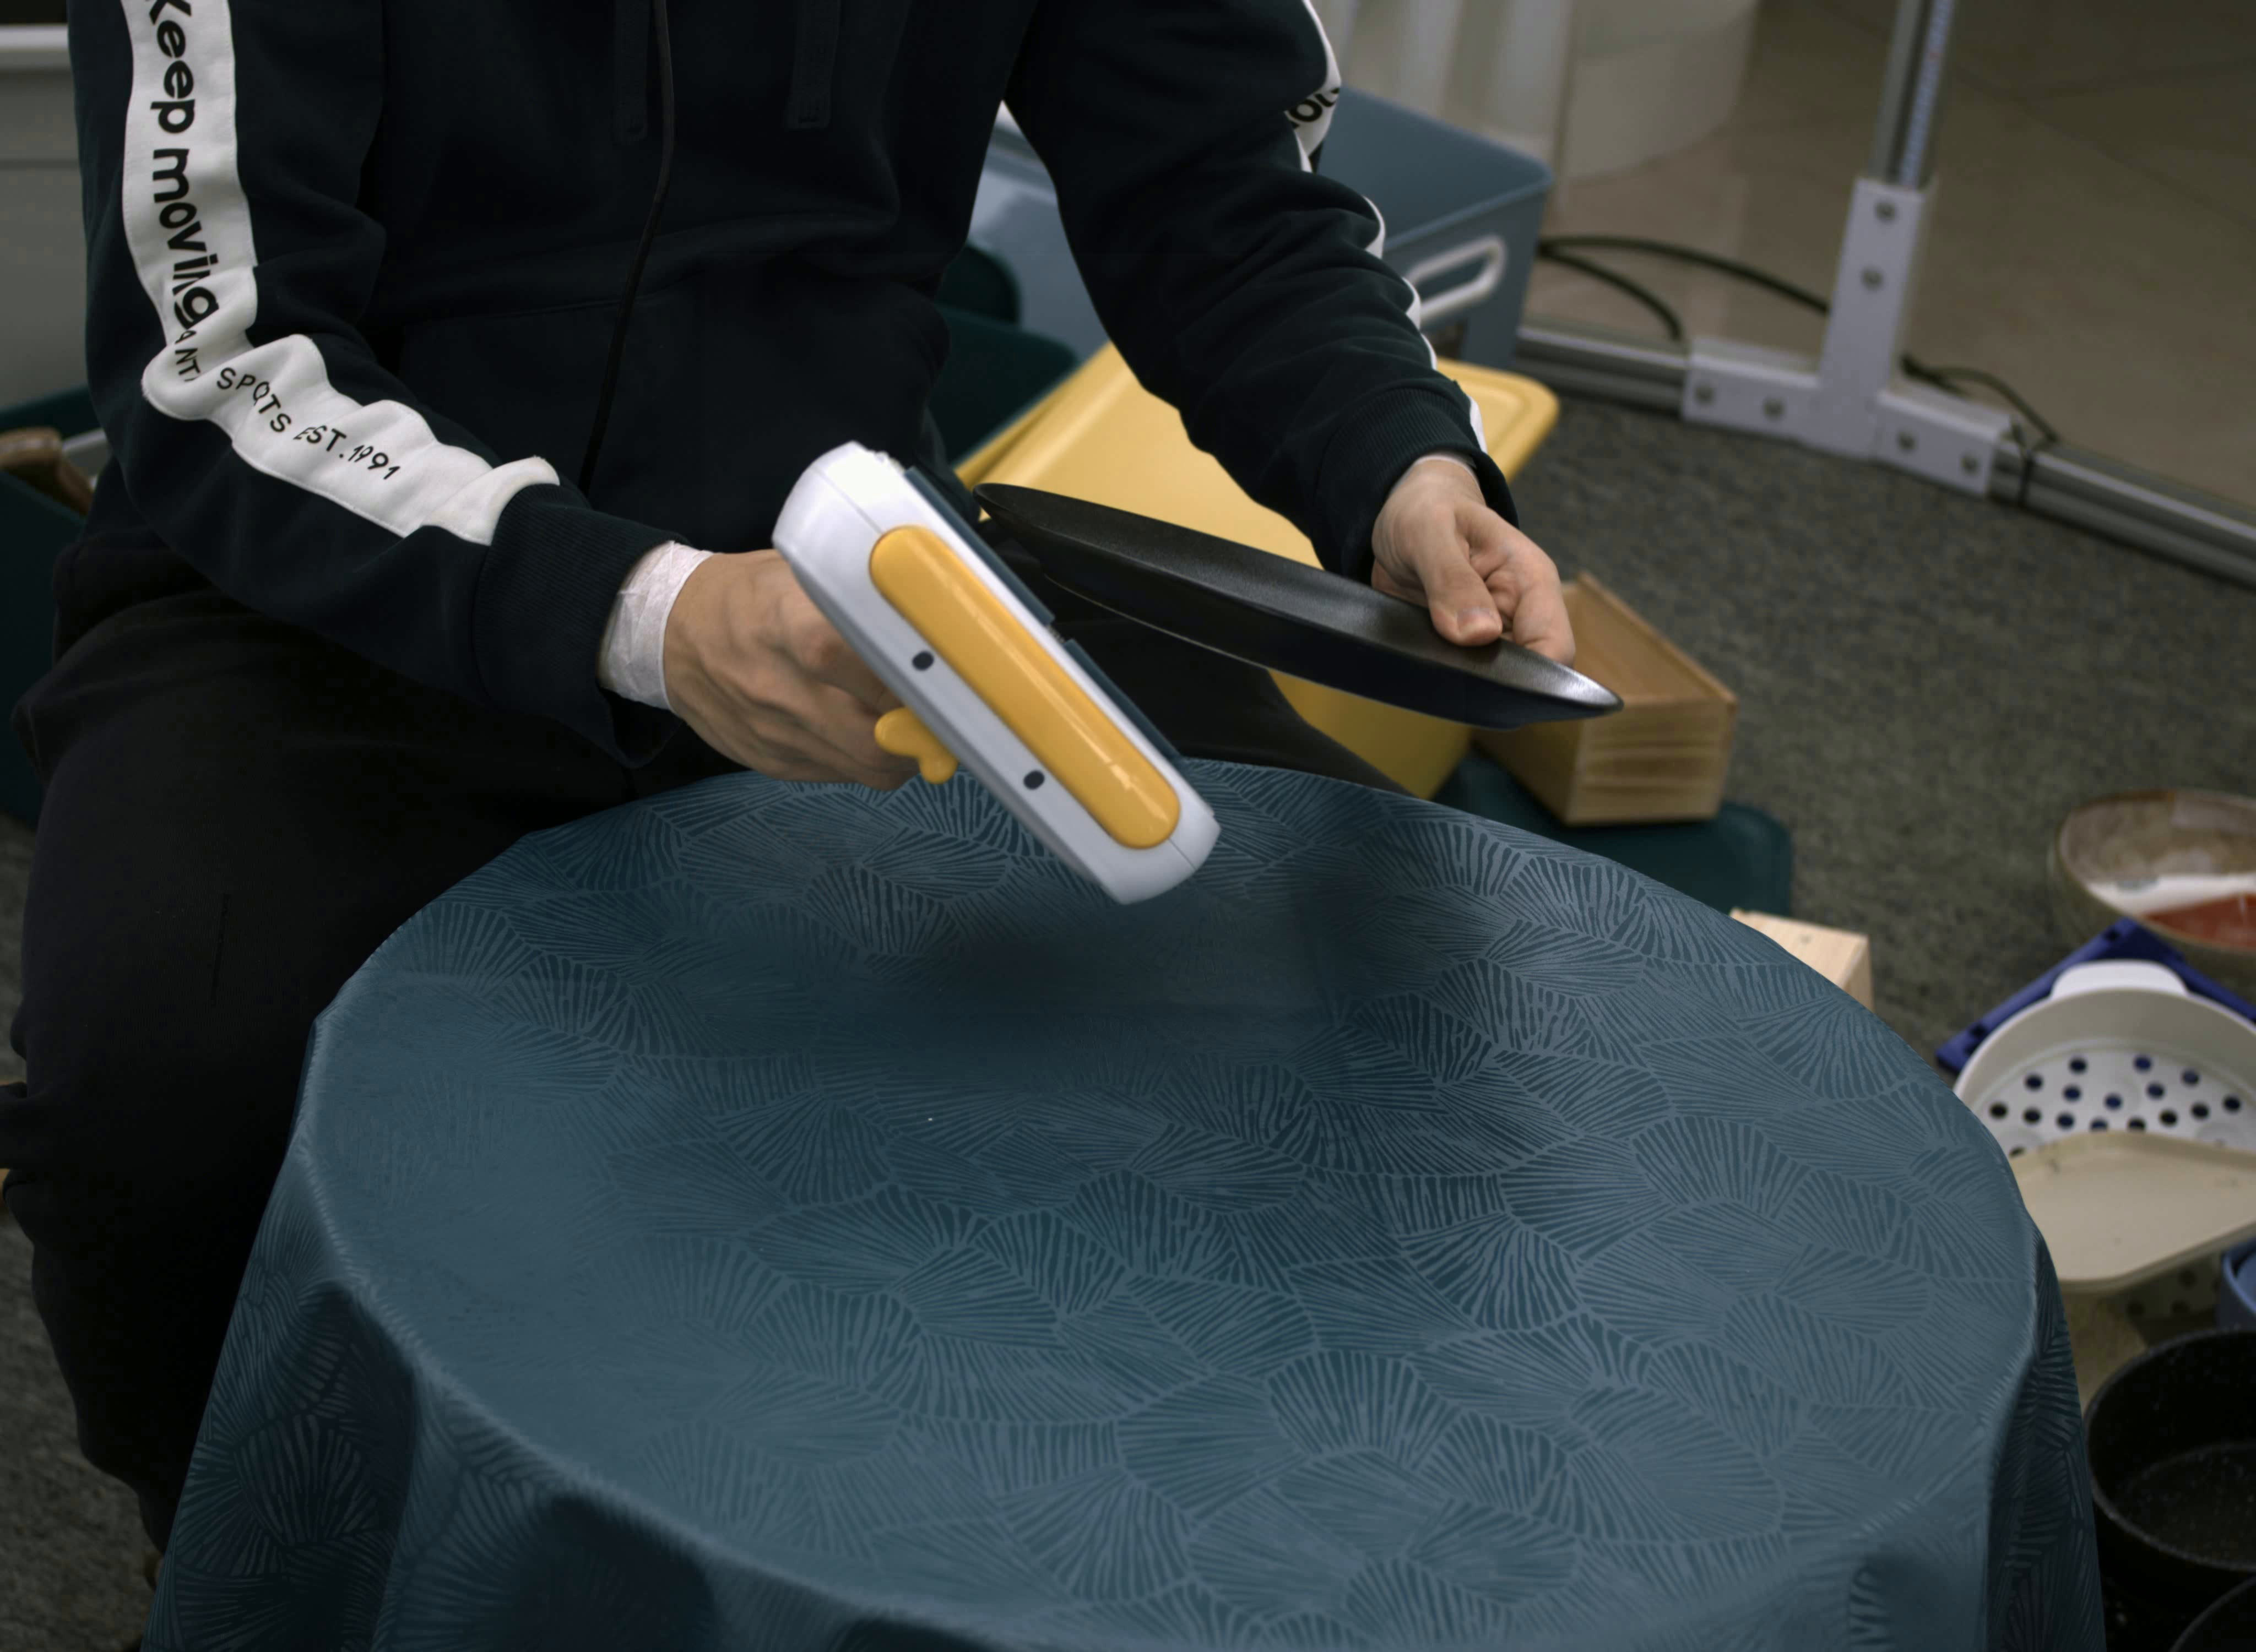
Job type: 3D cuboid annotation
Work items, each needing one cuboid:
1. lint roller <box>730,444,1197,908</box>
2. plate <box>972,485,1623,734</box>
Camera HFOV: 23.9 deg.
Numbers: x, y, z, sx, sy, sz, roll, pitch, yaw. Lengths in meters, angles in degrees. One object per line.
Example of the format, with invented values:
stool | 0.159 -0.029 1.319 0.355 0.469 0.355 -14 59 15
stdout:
lint roller | -0.082 -0.038 1.856 0.074 0.192 0.193 -53 14 -20
plate | 0.057 -0.072 1.891 0.243 0.023 0.245 18 7 -3
